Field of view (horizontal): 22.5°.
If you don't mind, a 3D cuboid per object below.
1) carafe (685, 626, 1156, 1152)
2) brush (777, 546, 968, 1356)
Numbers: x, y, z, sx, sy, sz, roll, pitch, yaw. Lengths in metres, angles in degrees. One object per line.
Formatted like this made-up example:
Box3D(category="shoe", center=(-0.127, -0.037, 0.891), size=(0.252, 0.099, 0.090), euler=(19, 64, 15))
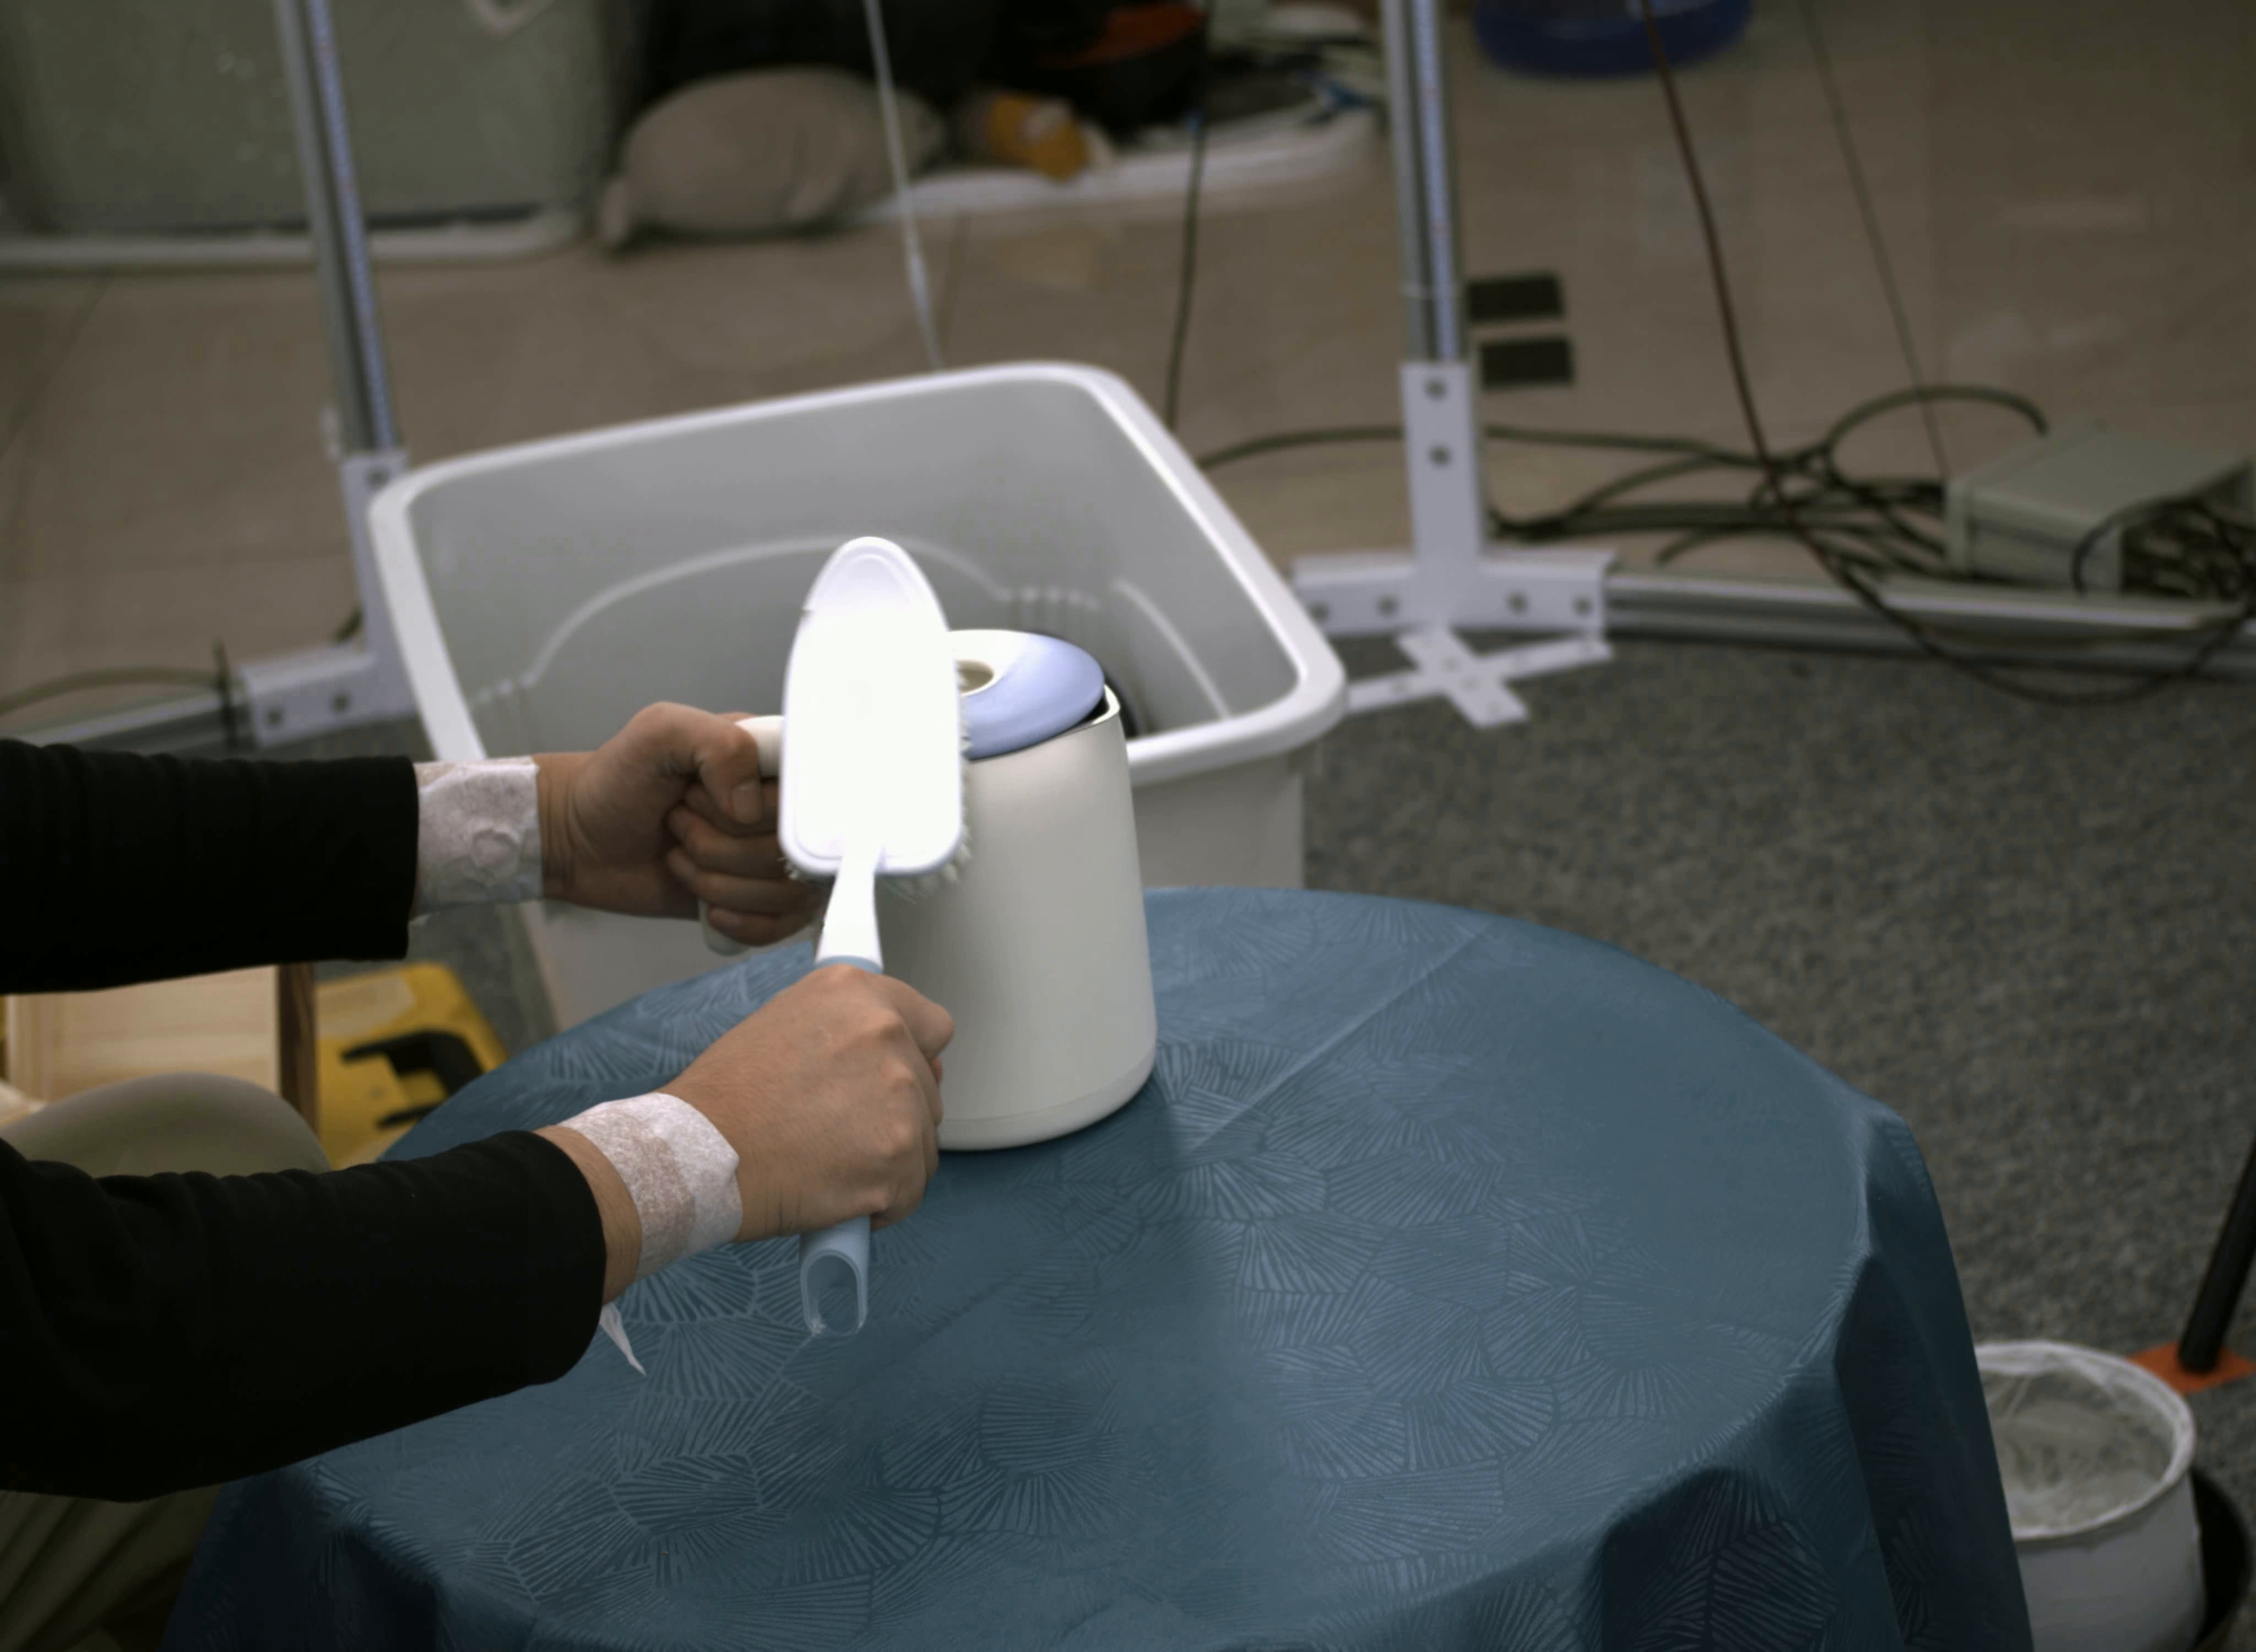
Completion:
Box3D(category="carafe", center=(-0.083, 0.023, 2.210), size=(0.190, 0.185, 0.130), euler=(2, 26, 19))
Box3D(category="brush", center=(-0.099, 0.052, 2.055), size=(0.083, 0.085, 0.321), euler=(-25, 54, 40))
